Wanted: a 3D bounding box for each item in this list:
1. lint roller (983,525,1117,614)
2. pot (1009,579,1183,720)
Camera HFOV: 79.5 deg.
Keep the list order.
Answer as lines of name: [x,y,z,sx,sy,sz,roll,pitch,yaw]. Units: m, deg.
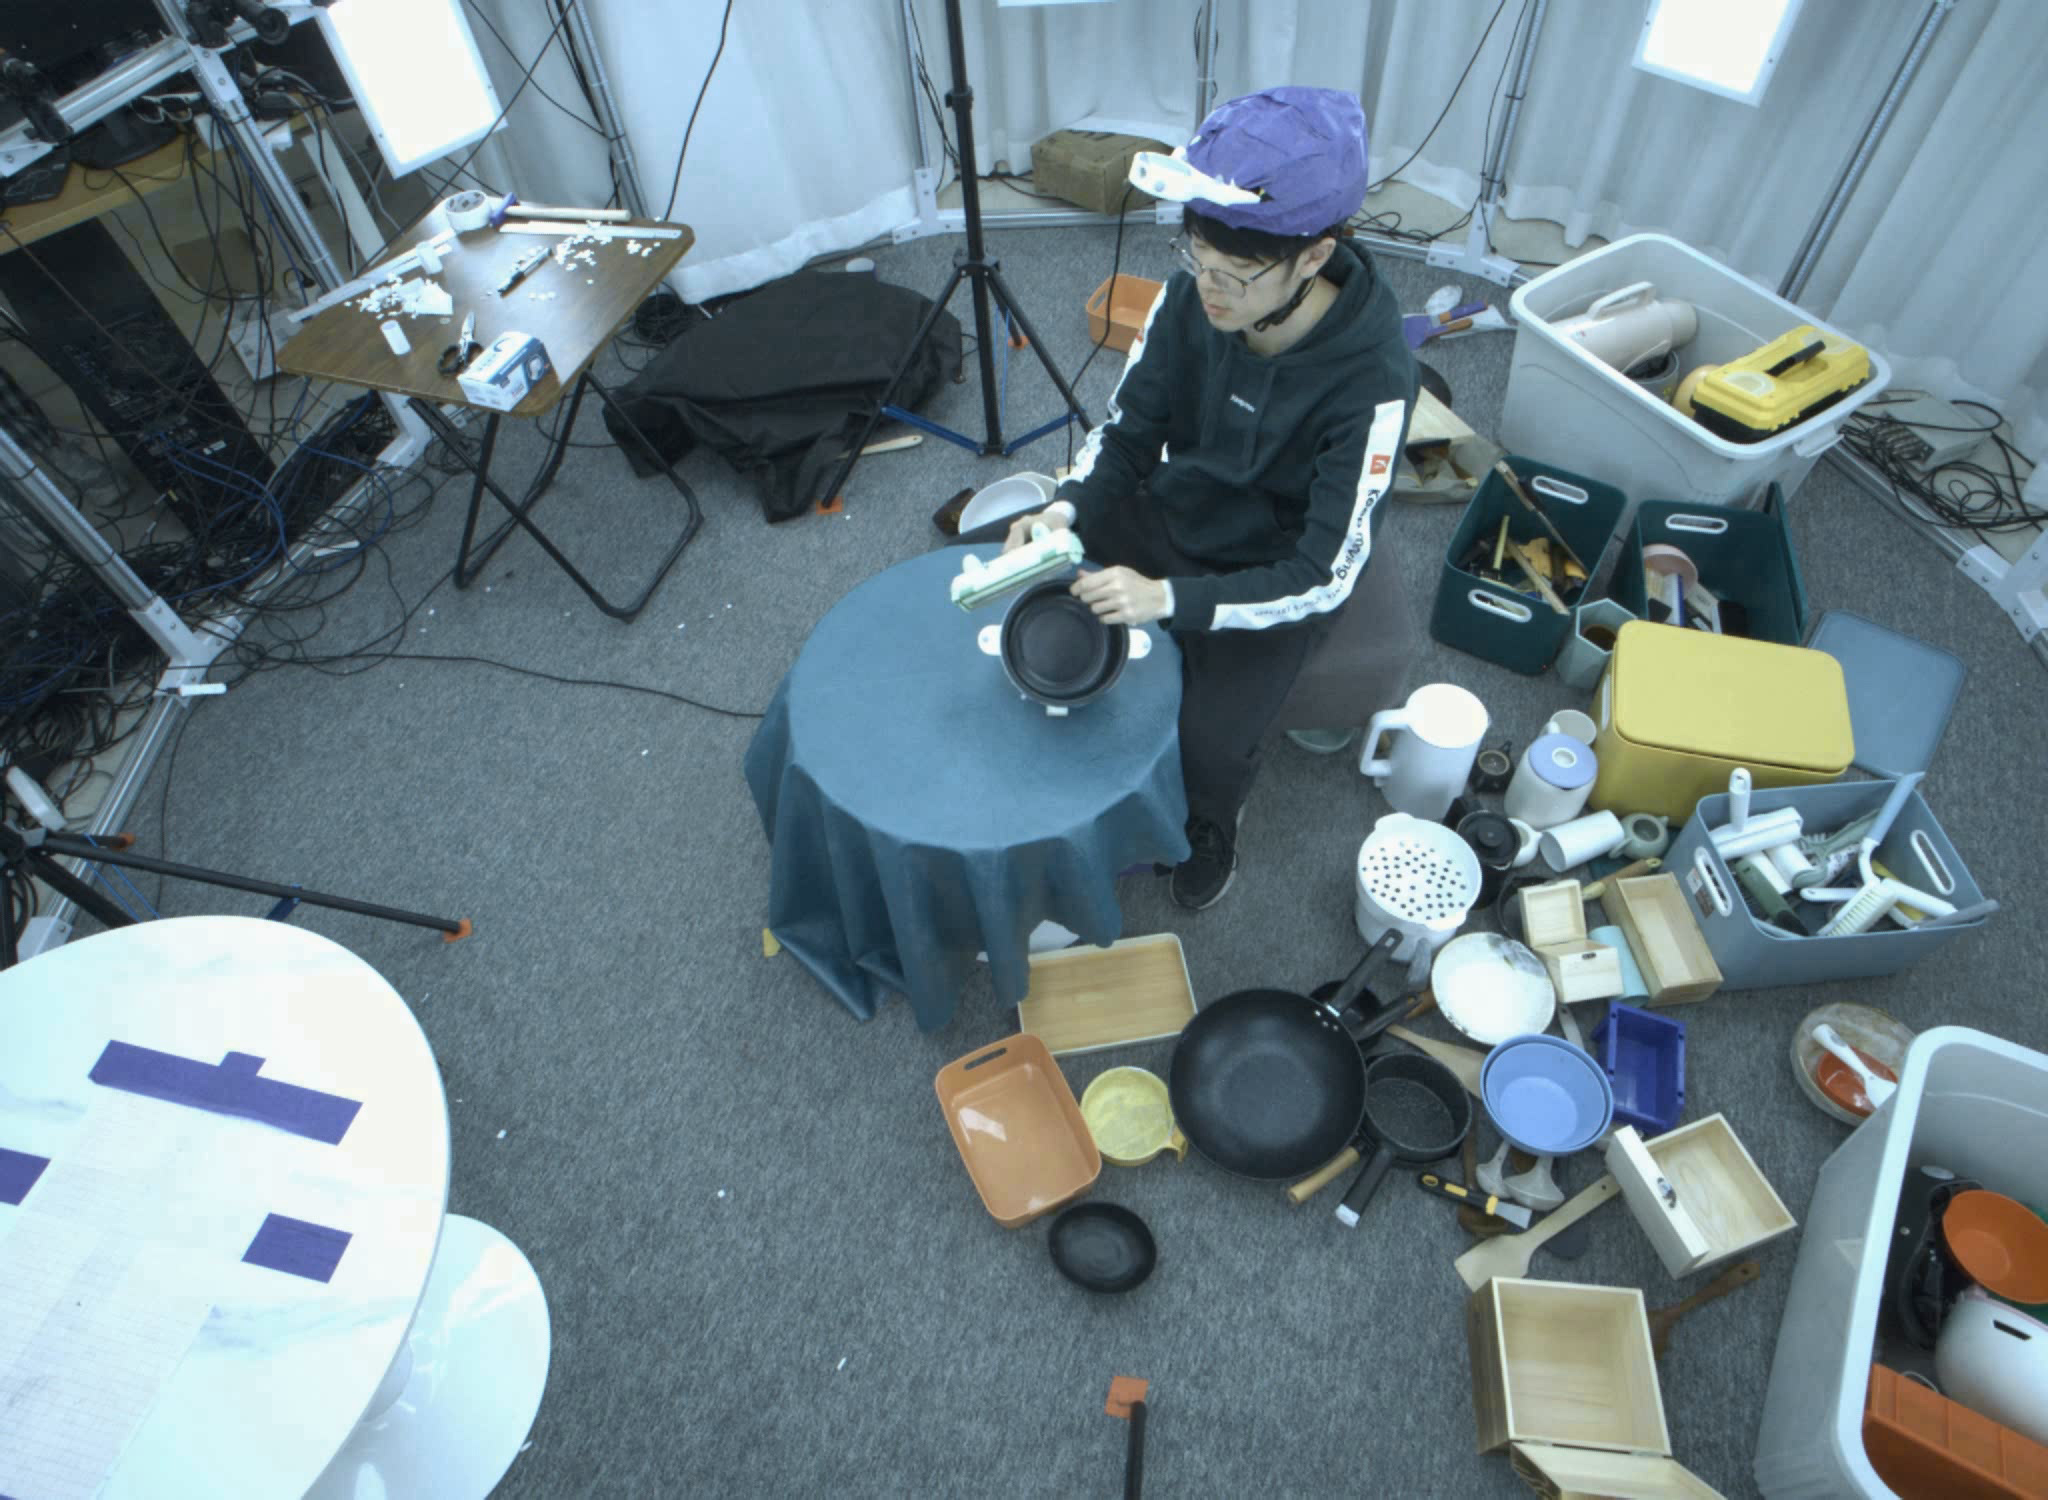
lint roller: [0.043,-0.285,1.766,0.196,0.083,0.183,-20,27,26]
pot: [0.098,-0.140,1.755,0.241,0.142,0.190,2,89,-3]
